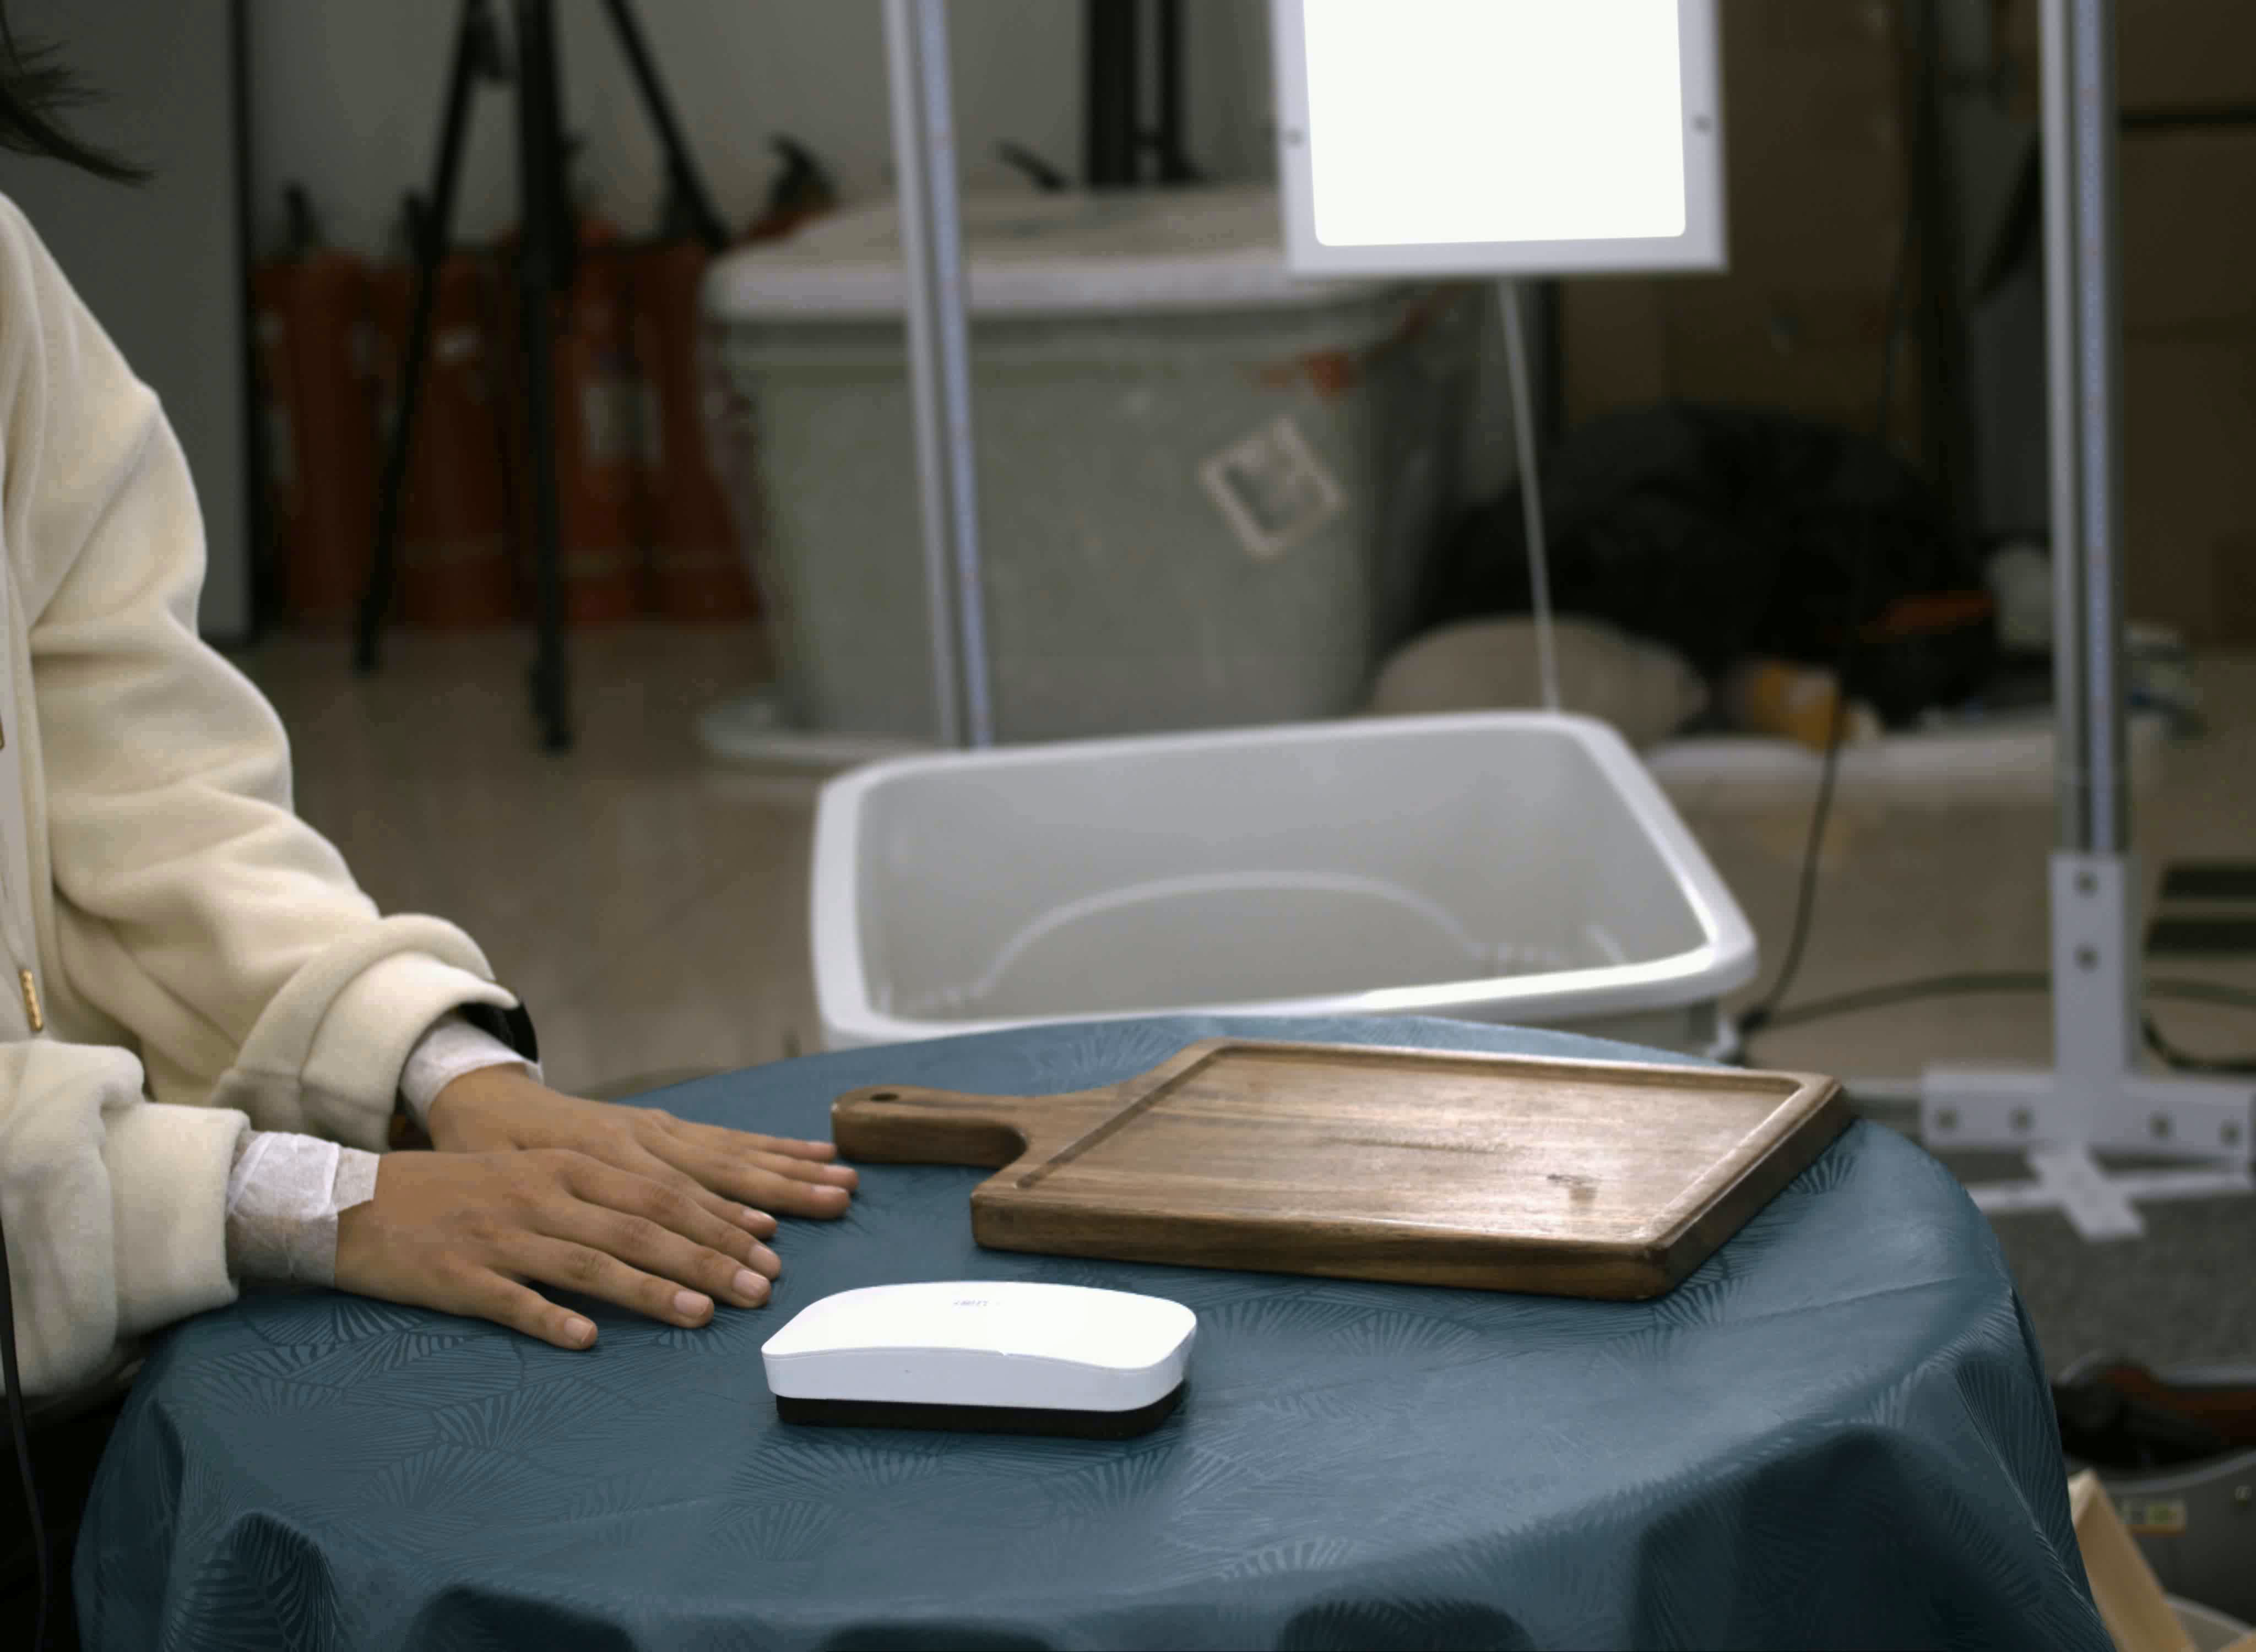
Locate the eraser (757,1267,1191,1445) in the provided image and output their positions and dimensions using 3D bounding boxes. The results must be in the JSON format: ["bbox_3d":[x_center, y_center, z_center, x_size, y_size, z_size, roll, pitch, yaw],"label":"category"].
[{"bbox_3d":[-0.047,0.164,1.700,0.133,0.034,0.062,1,16,23],"label":"eraser"}]

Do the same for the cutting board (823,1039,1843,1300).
[{"bbox_3d":[0.053,0.112,1.895,0.358,0.023,0.197,2,15,27],"label":"cutting board"}]
